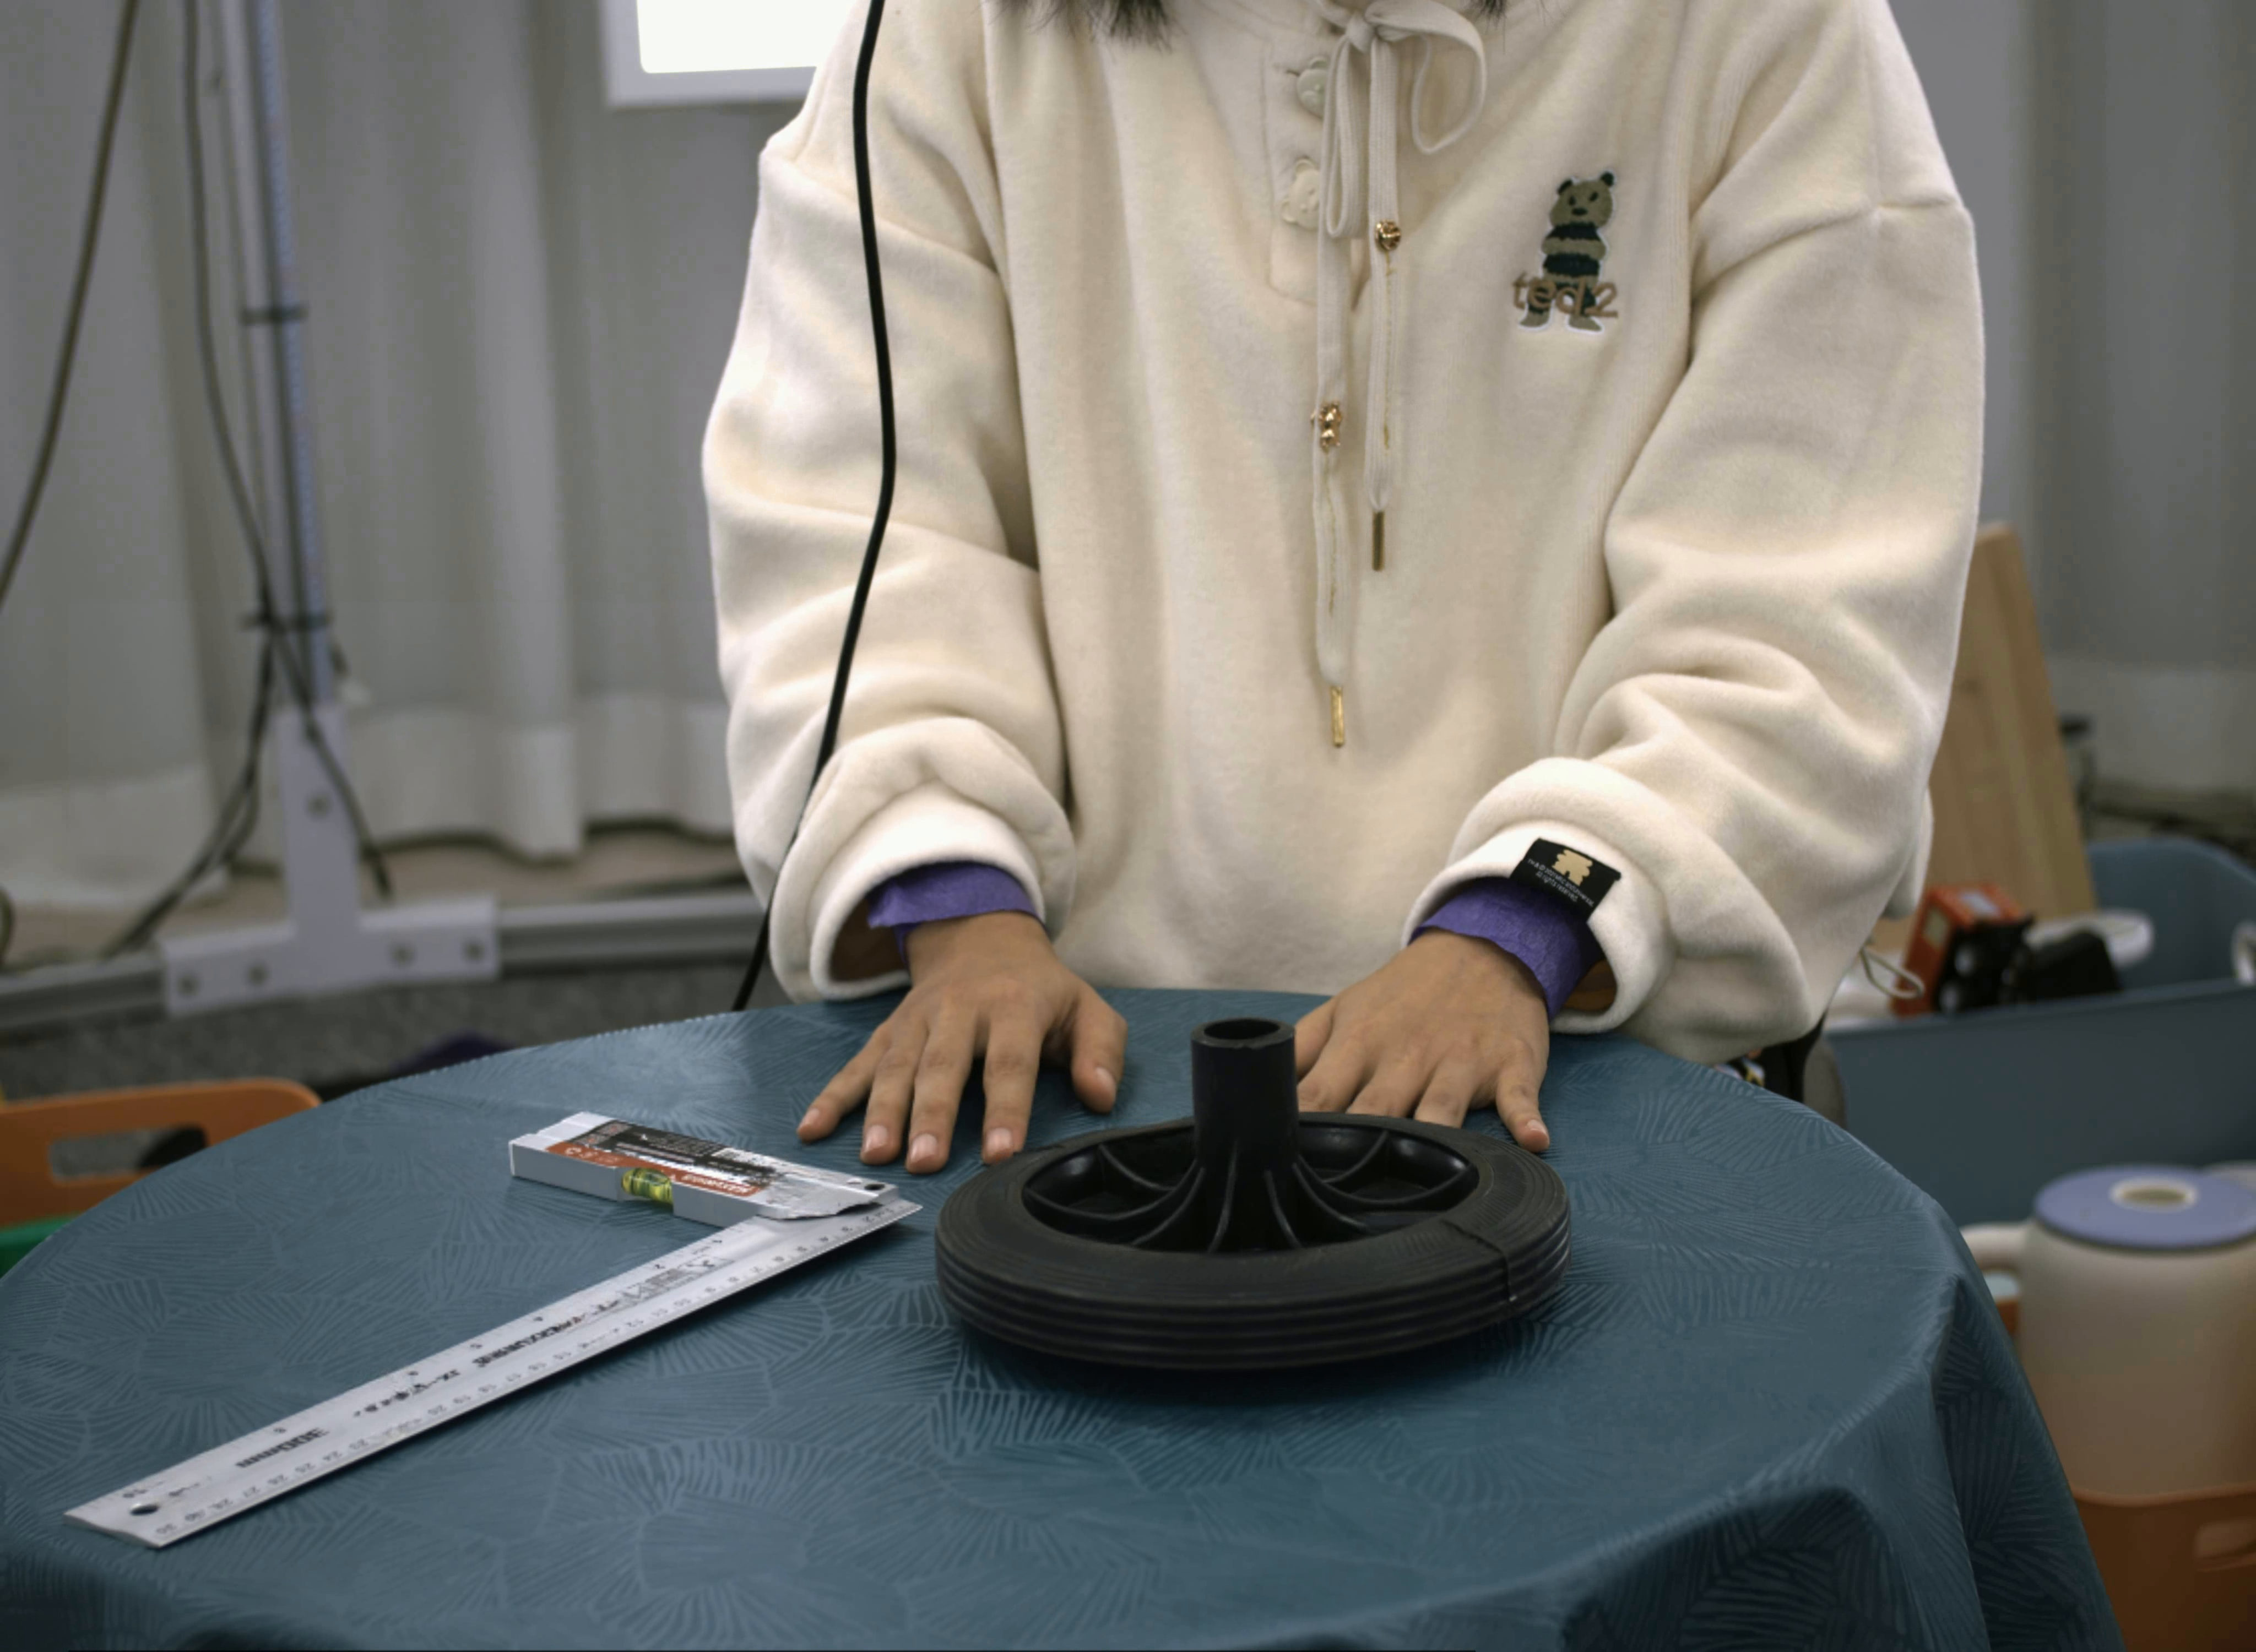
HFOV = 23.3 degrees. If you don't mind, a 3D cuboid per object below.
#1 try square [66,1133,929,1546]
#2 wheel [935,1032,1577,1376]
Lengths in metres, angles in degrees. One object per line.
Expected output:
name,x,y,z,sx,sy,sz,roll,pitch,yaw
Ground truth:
try square,-0.215,0.148,1.624,0.153,0.016,0.312,6,18,40
wheel,0.037,0.103,1.605,0.189,0.079,0.189,-5,13,-13
